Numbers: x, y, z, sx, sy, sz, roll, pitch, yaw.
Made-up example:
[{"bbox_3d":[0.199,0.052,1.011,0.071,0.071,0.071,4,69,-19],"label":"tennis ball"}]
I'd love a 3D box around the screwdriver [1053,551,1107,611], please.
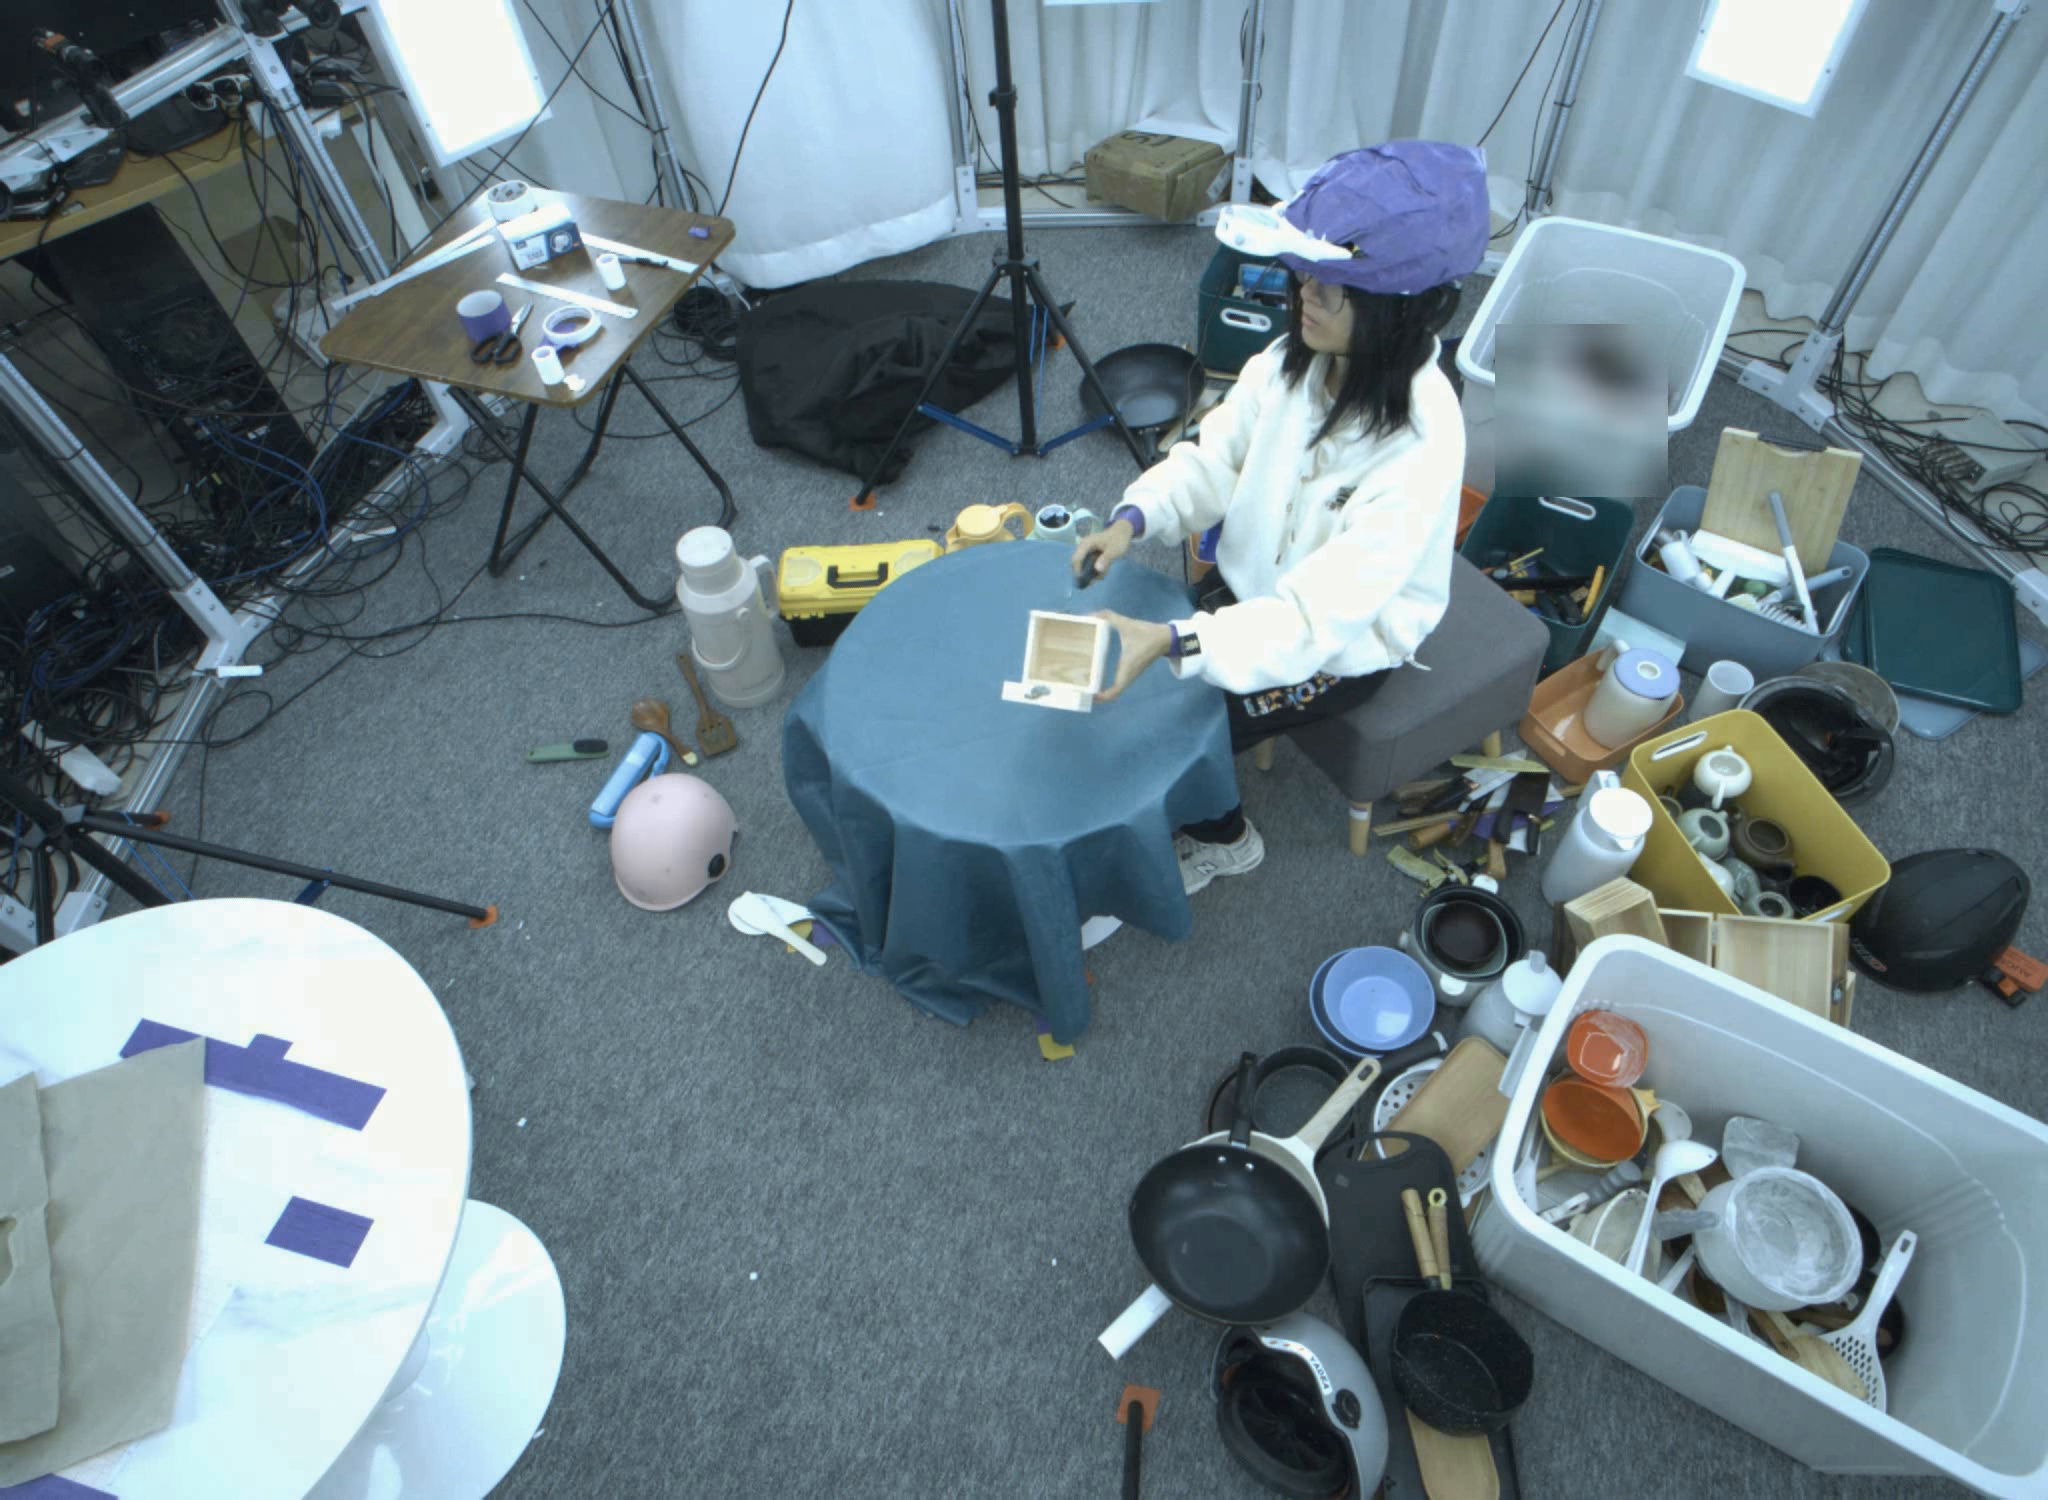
[{"bbox_3d":[0.076,-0.237,1.753,0.031,0.032,0.198,18,39,16],"label":"screwdriver"}]

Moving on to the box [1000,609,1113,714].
[{"bbox_3d":[0.046,-0.123,1.648,0.102,0.186,0.134,9,98,12],"label":"box"}]
